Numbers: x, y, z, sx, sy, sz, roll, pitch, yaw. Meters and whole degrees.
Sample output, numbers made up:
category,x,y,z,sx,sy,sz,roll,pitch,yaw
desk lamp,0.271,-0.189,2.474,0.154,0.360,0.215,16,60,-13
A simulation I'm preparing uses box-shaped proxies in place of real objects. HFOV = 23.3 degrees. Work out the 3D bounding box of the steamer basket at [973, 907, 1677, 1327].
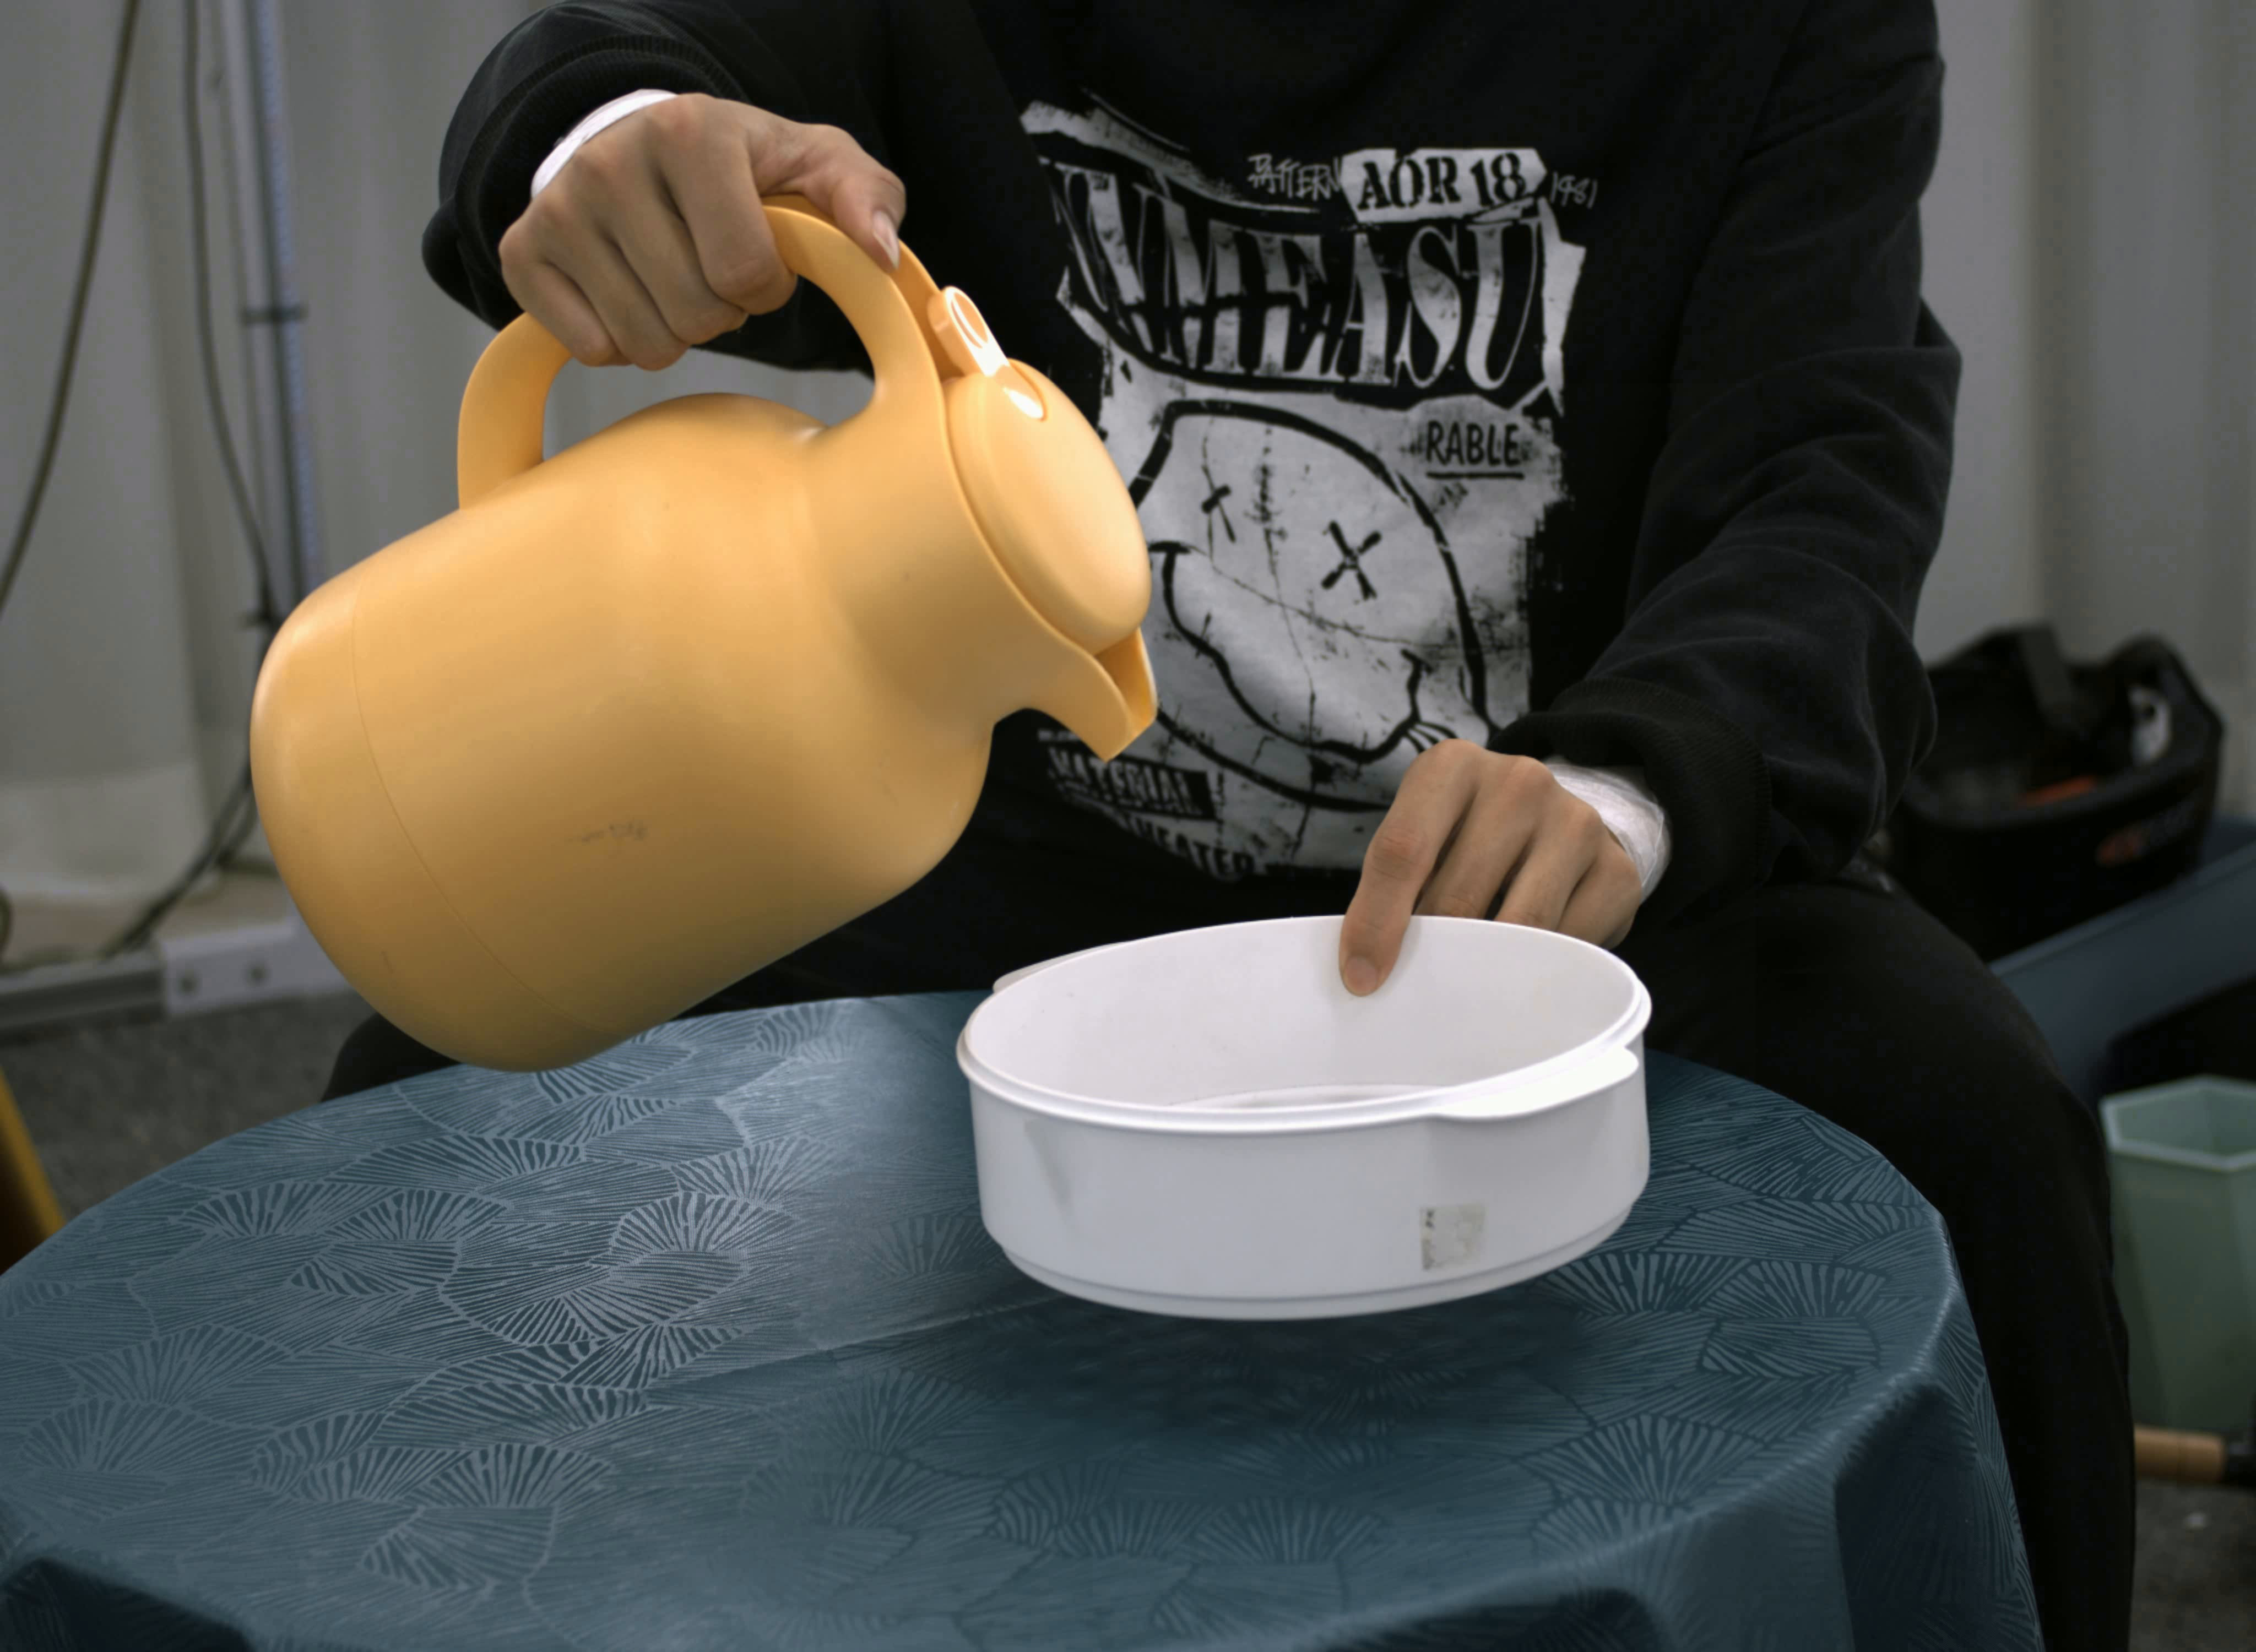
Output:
category,x,y,z,sx,sy,sz,roll,pitch,yaw
steamer basket,0.057,0.083,1.567,0.201,0.069,0.232,-15,20,-38

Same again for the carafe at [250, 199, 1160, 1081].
category,x,y,z,sx,sy,sz,roll,pitch,yaw
carafe,-0.127,-0.059,1.597,0.259,0.203,0.163,-27,0,21
